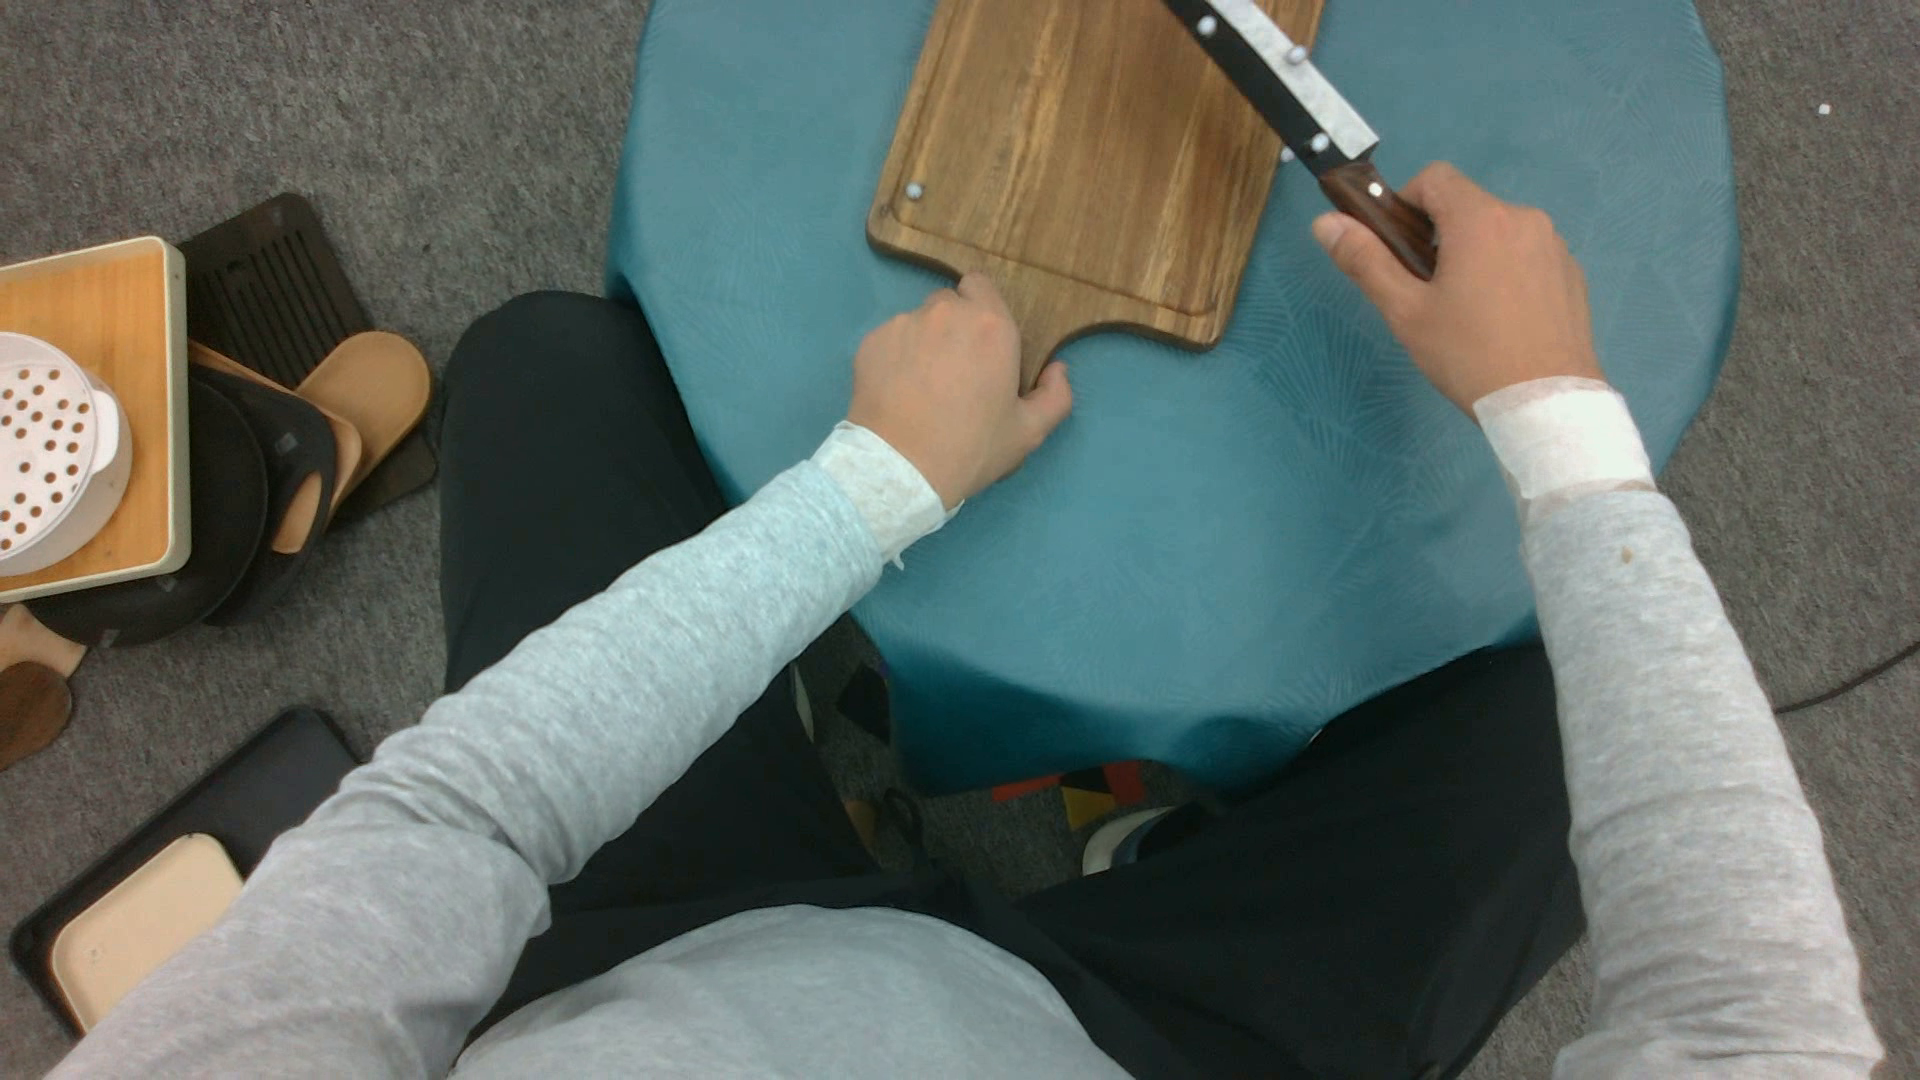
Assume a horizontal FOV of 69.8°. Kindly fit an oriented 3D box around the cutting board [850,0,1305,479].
[{"bbox_3d":[0.055,-0.201,0.730,0.201,0.023,0.352,17,81,1],"label":"cutting board"}]

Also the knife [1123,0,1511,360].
[{"bbox_3d":[0.160,-0.197,0.660,0.050,0.020,0.289,-39,85,-26],"label":"knife"}]
